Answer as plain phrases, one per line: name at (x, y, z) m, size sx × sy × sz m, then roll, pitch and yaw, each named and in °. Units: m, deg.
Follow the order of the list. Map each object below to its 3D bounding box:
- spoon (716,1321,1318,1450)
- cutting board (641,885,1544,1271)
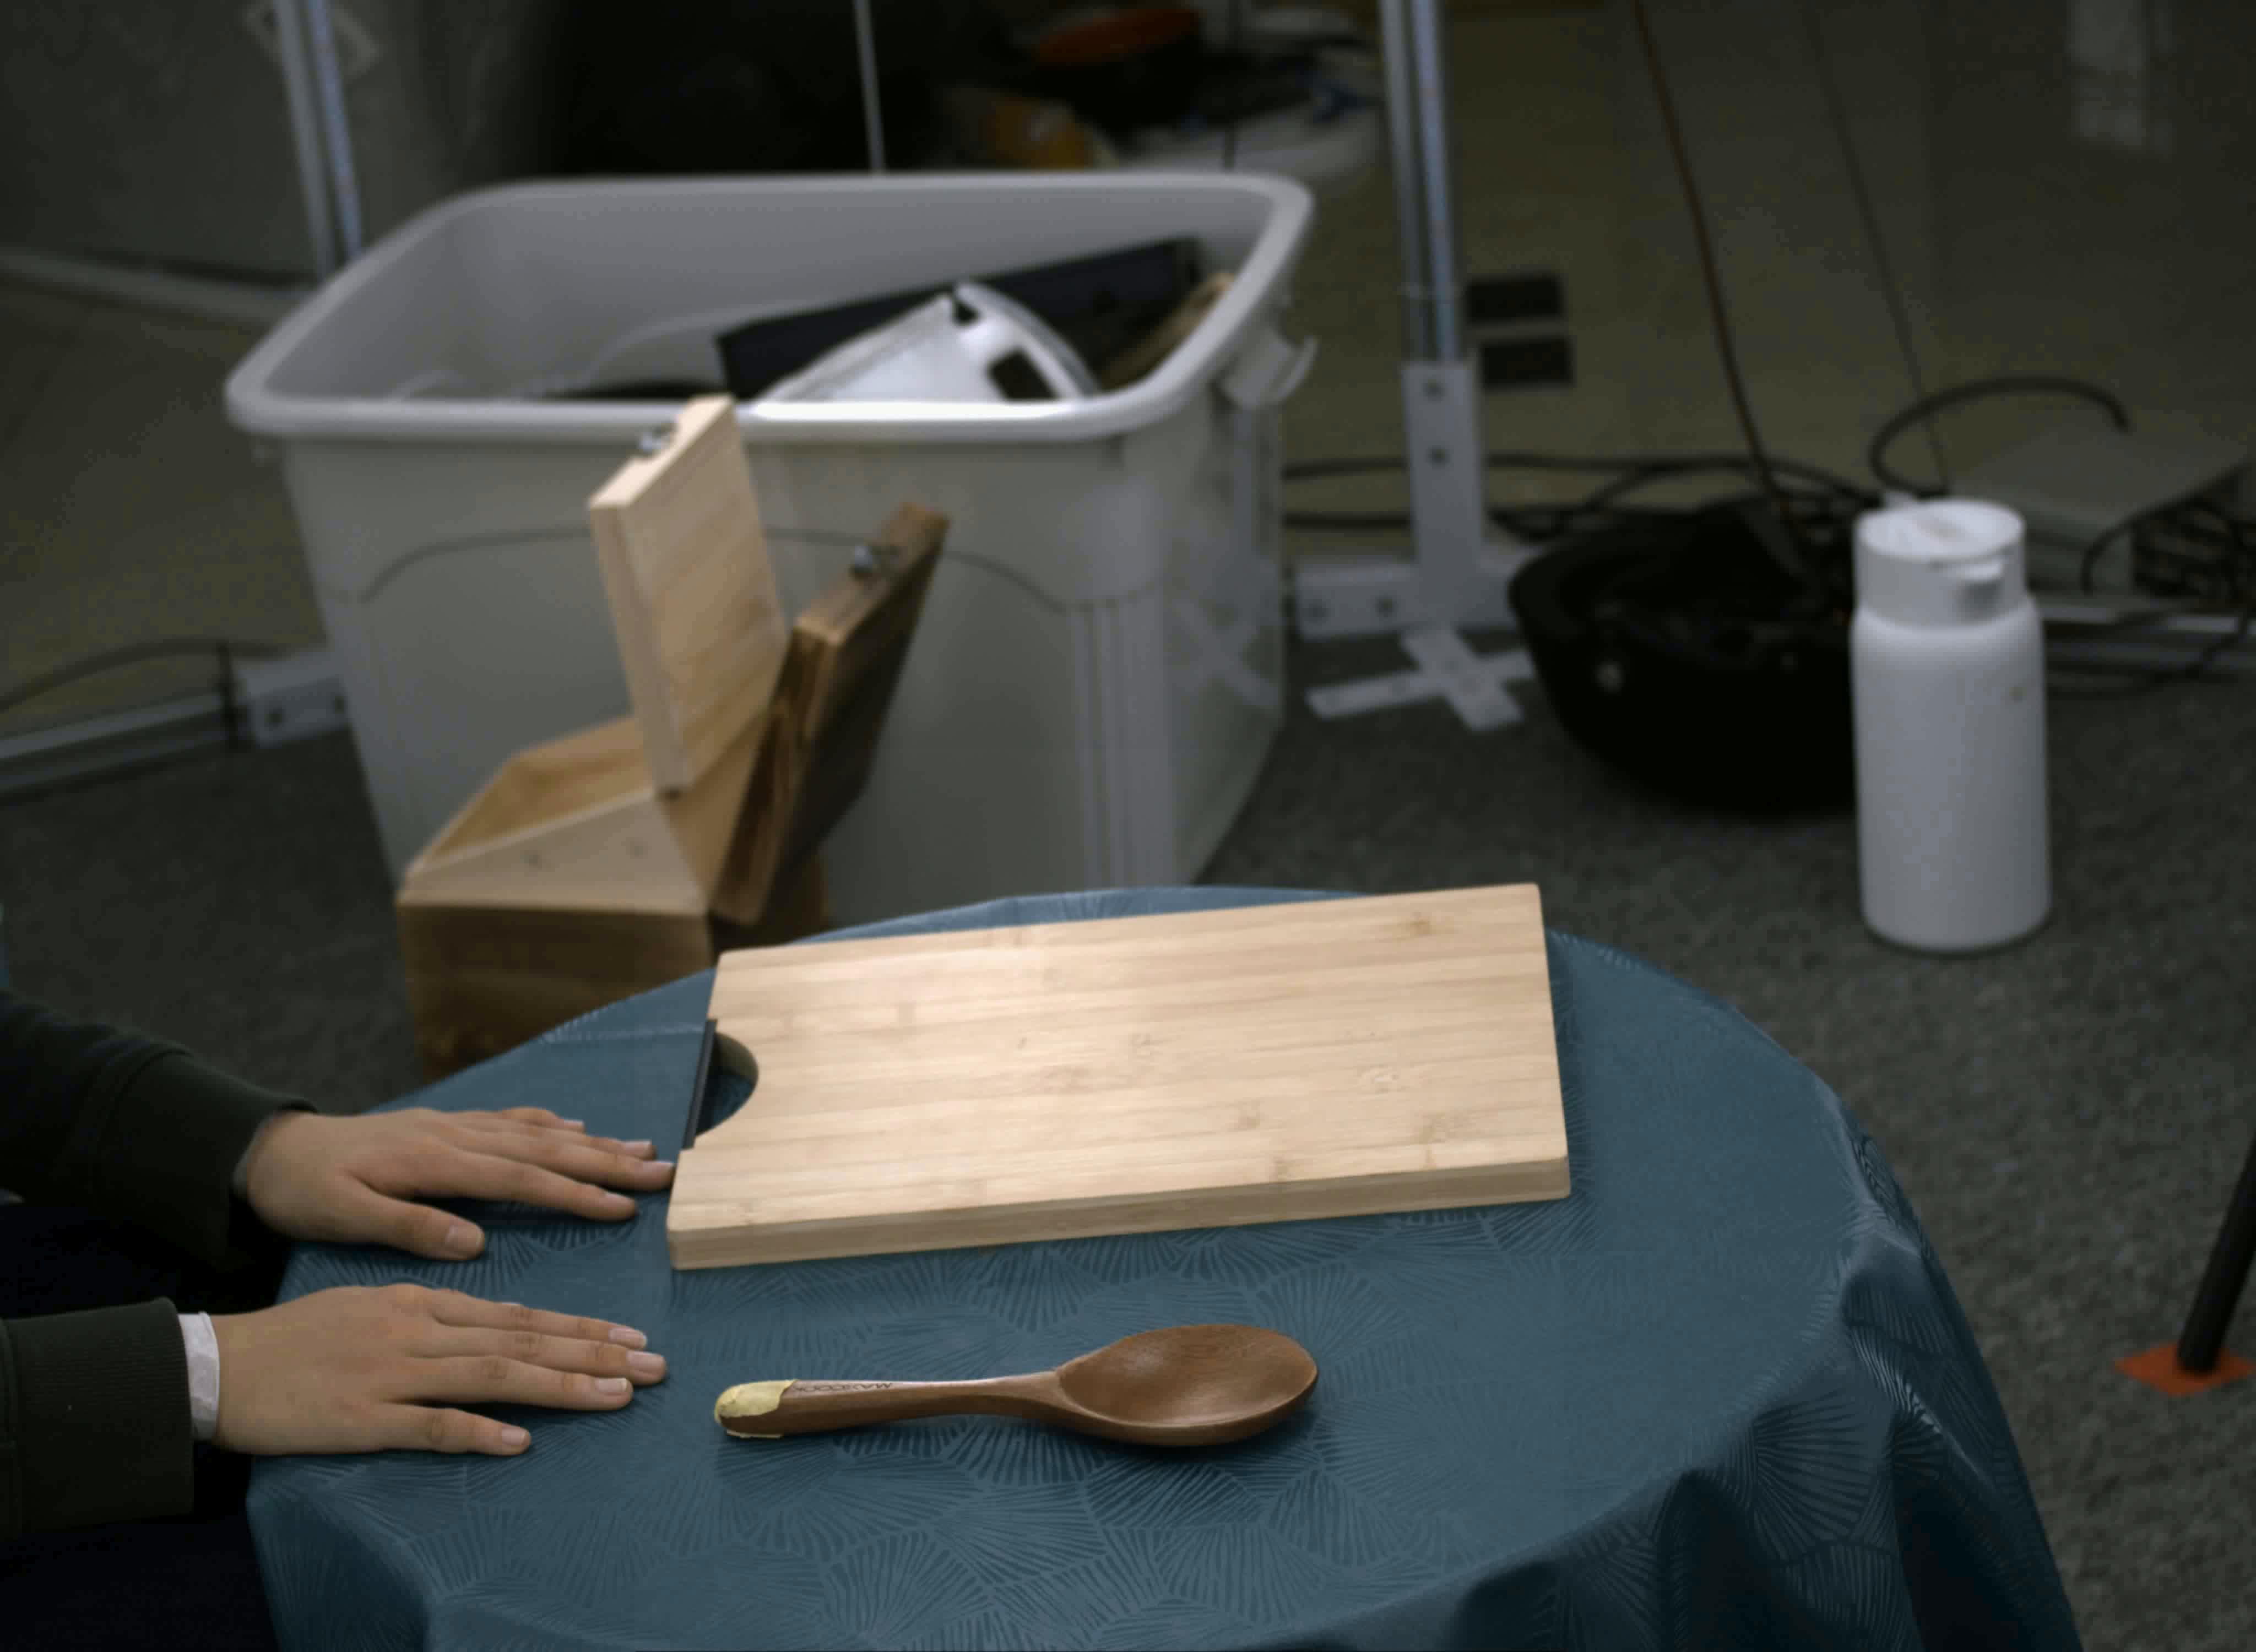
spoon at (-0.039, 0.202, 2.007) m, size 0.215 × 0.017 × 0.074 m, roll -2°, pitch 27°, yaw 8°
cutting board at (-0.008, 0.097, 2.226) m, size 0.348 × 0.024 × 0.247 m, roll -5°, pitch 24°, yaw 3°
